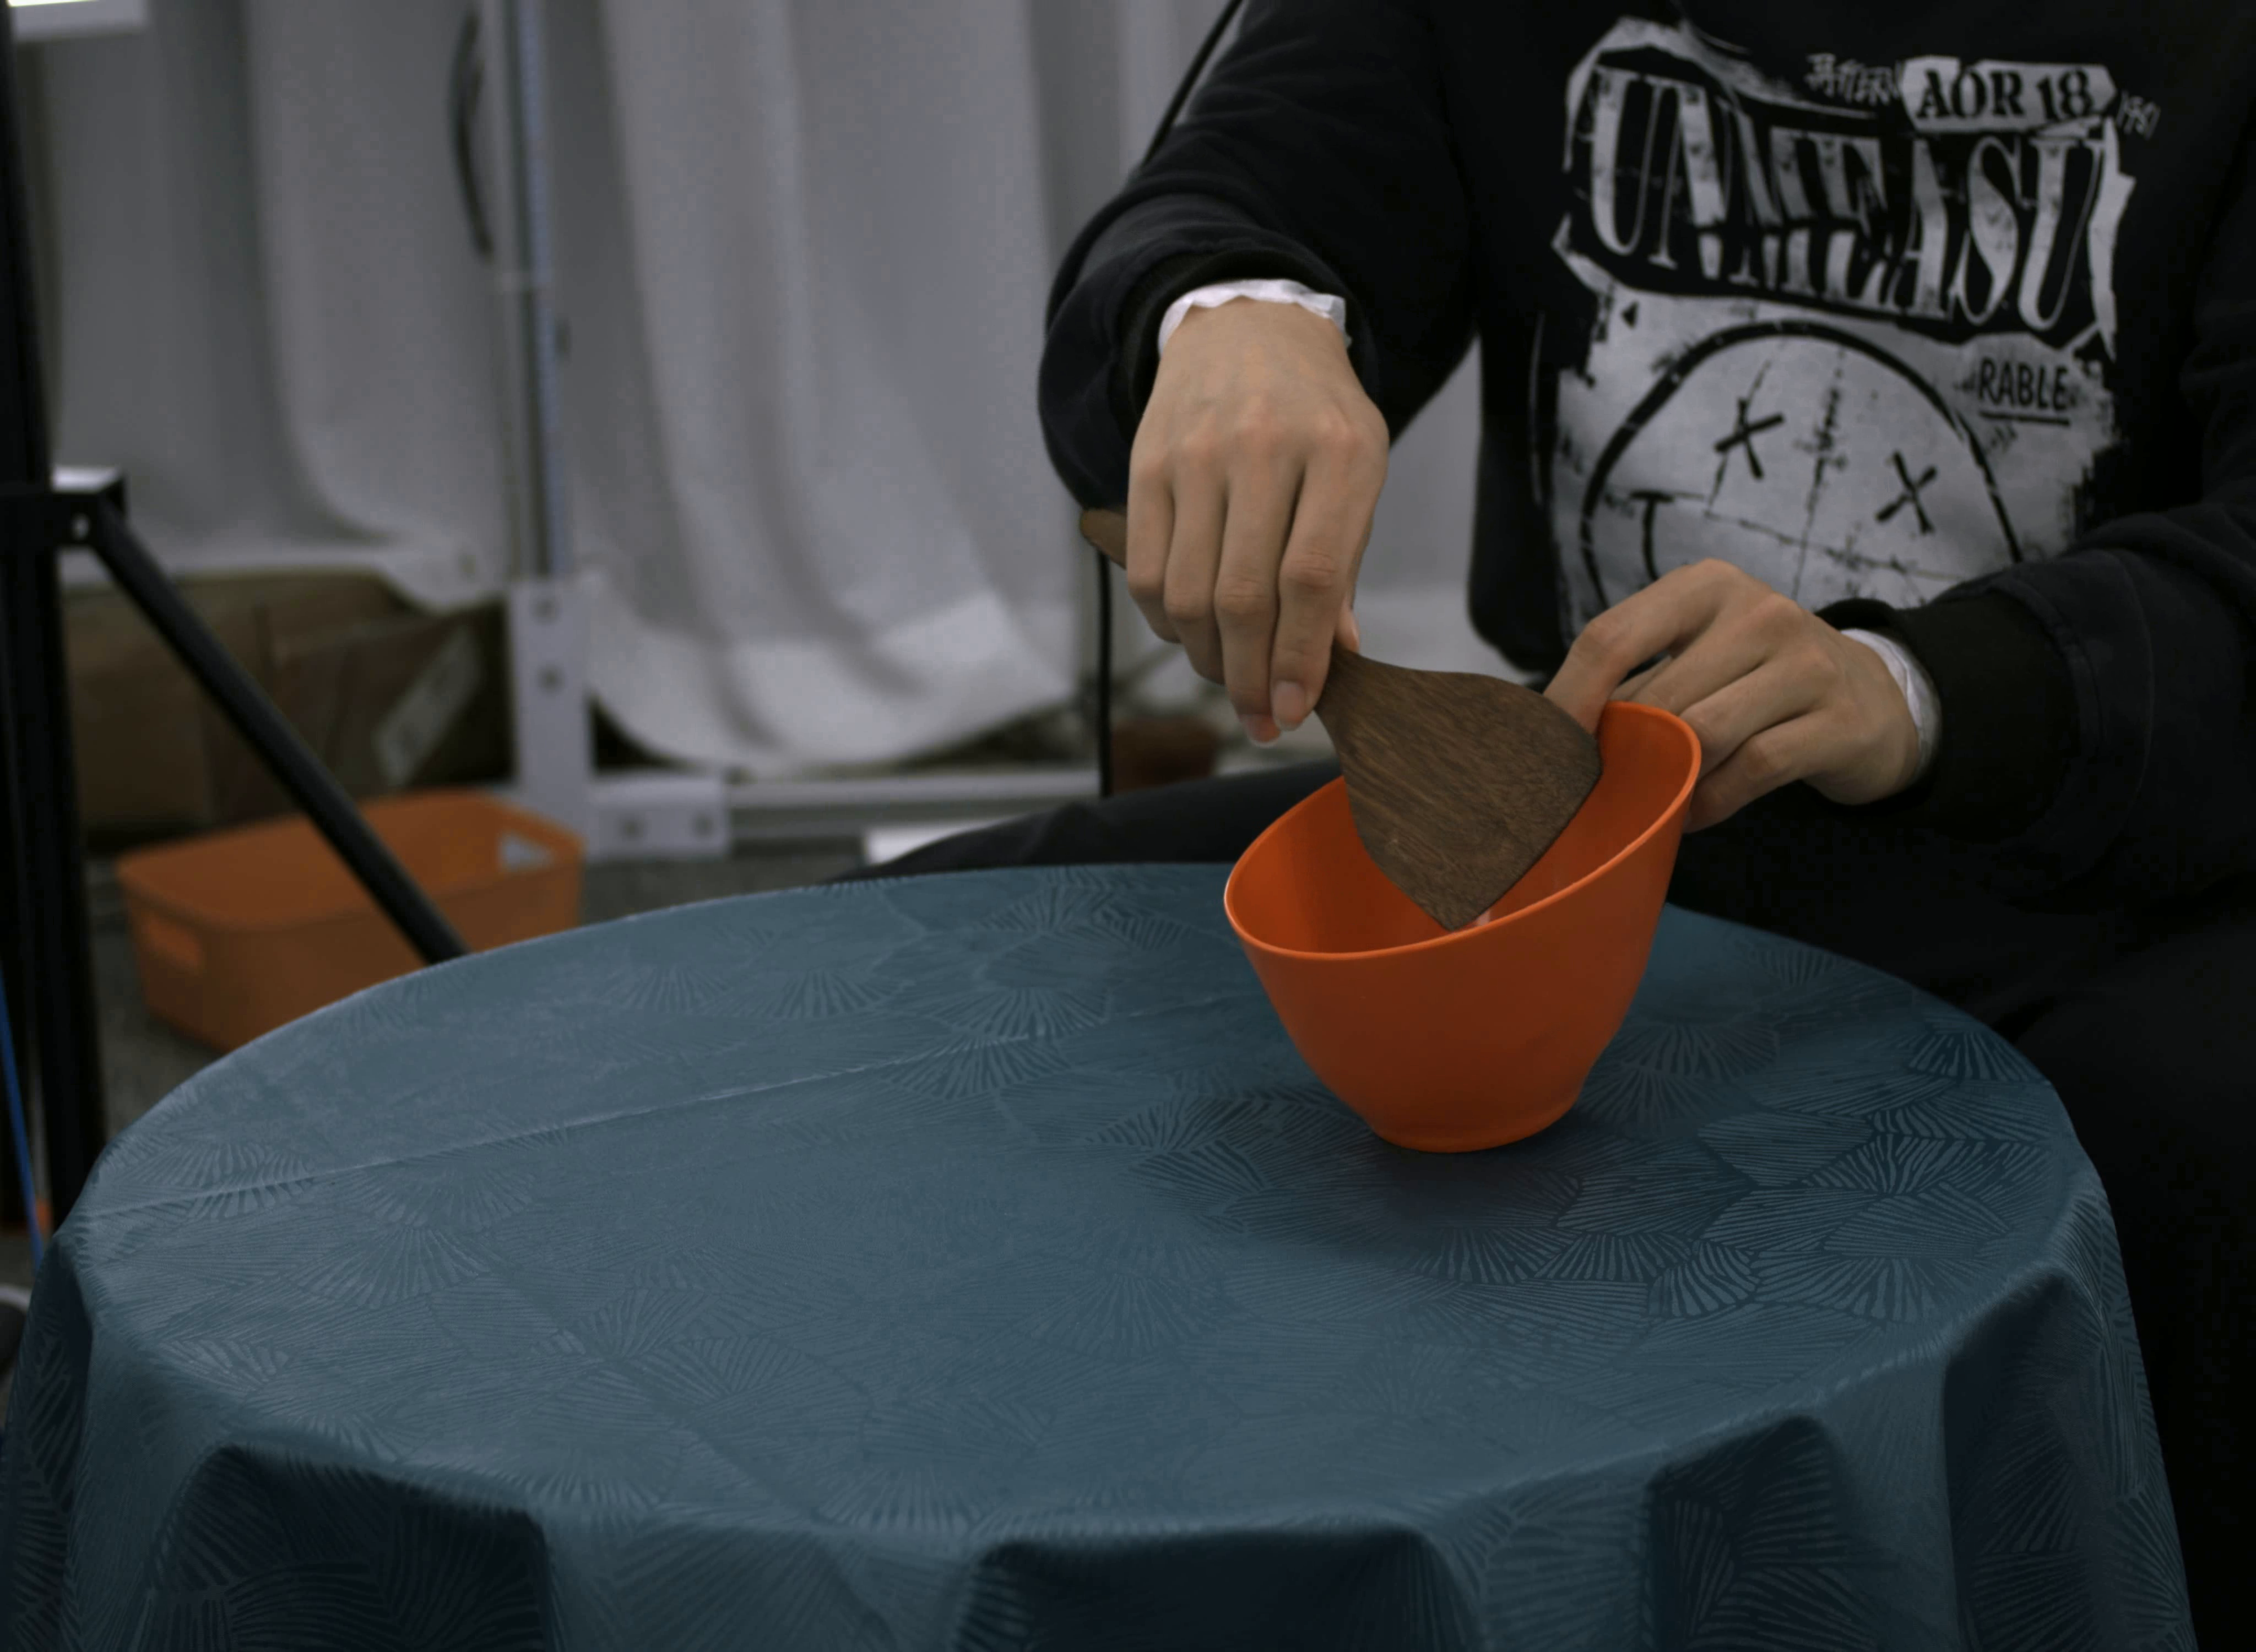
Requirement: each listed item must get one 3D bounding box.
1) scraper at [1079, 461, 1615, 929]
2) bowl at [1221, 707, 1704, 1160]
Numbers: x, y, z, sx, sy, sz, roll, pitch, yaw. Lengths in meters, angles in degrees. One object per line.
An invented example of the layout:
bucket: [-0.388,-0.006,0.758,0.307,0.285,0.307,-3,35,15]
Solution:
scraper: [0.058,-0.049,1.600,0.216,0.076,0.010,41,-1,35]
bowl: [0.105,0.038,1.580,0.148,0.104,0.149,-11,24,3]
